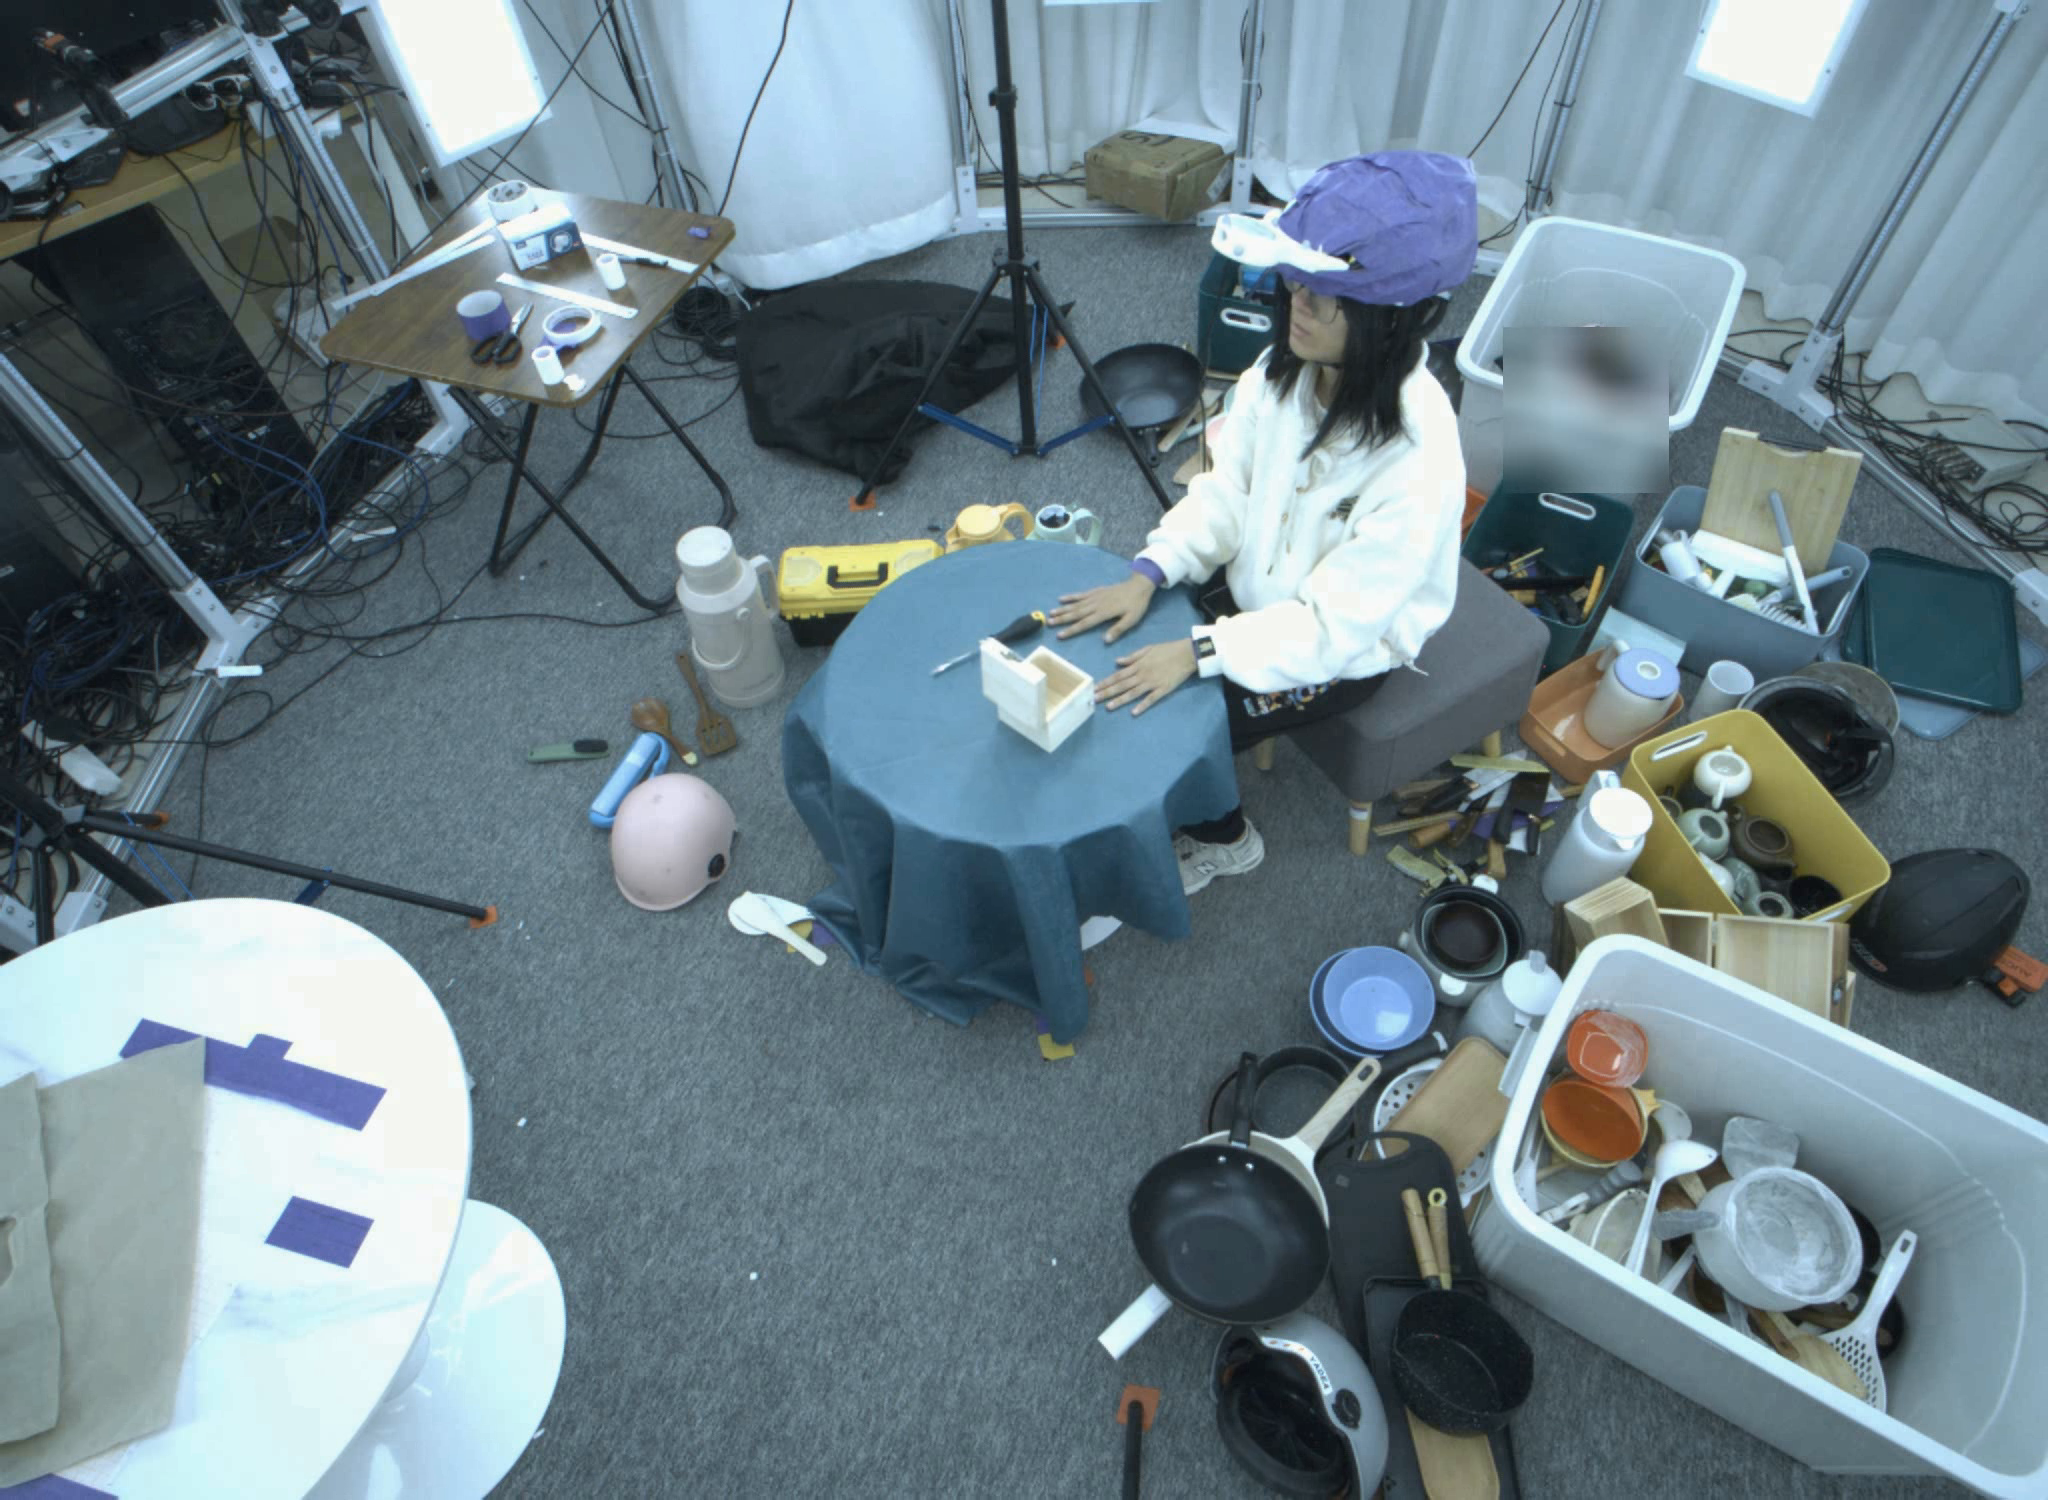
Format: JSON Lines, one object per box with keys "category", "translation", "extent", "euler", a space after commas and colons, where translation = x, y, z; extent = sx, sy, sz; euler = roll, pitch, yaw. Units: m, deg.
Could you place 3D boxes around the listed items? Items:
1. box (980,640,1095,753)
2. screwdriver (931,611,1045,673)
{"category": "box", "translation": [0.023, -0.098, 1.743], "extent": [0.101, 0.186, 0.134], "euler": [34, 64, 24]}
{"category": "screwdriver", "translation": [-0.057, -0.167, 1.894], "extent": [0.199, 0.032, 0.031], "euler": [-25, 58, -12]}
